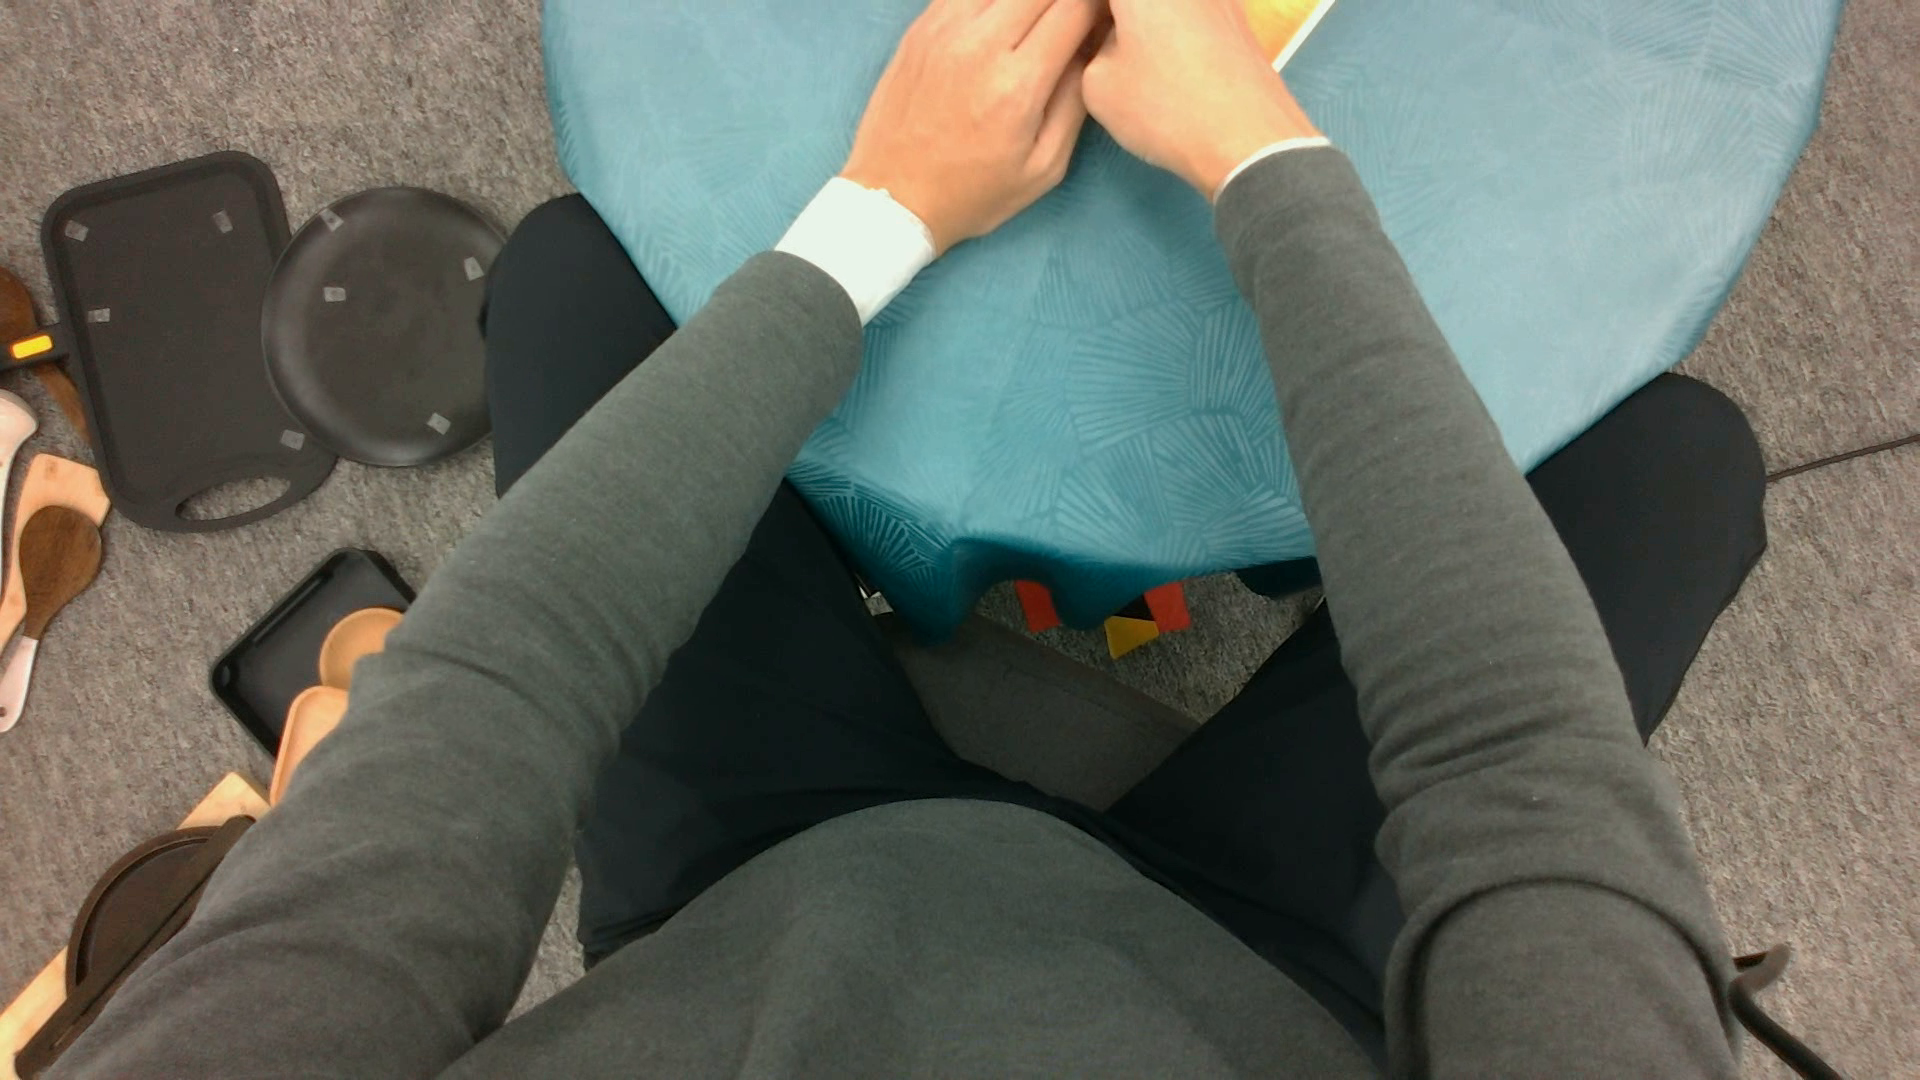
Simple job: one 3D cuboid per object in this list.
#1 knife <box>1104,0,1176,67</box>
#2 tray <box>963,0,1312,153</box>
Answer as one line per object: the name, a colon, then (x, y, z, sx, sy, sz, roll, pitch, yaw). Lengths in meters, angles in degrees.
knife: (0.025, -0.310, 0.608, 0.016, 0.024, 0.238, -34, 86, 16)
tray: (0.042, -0.337, 0.625, 0.300, 0.027, 0.191, 39, 93, 1)
